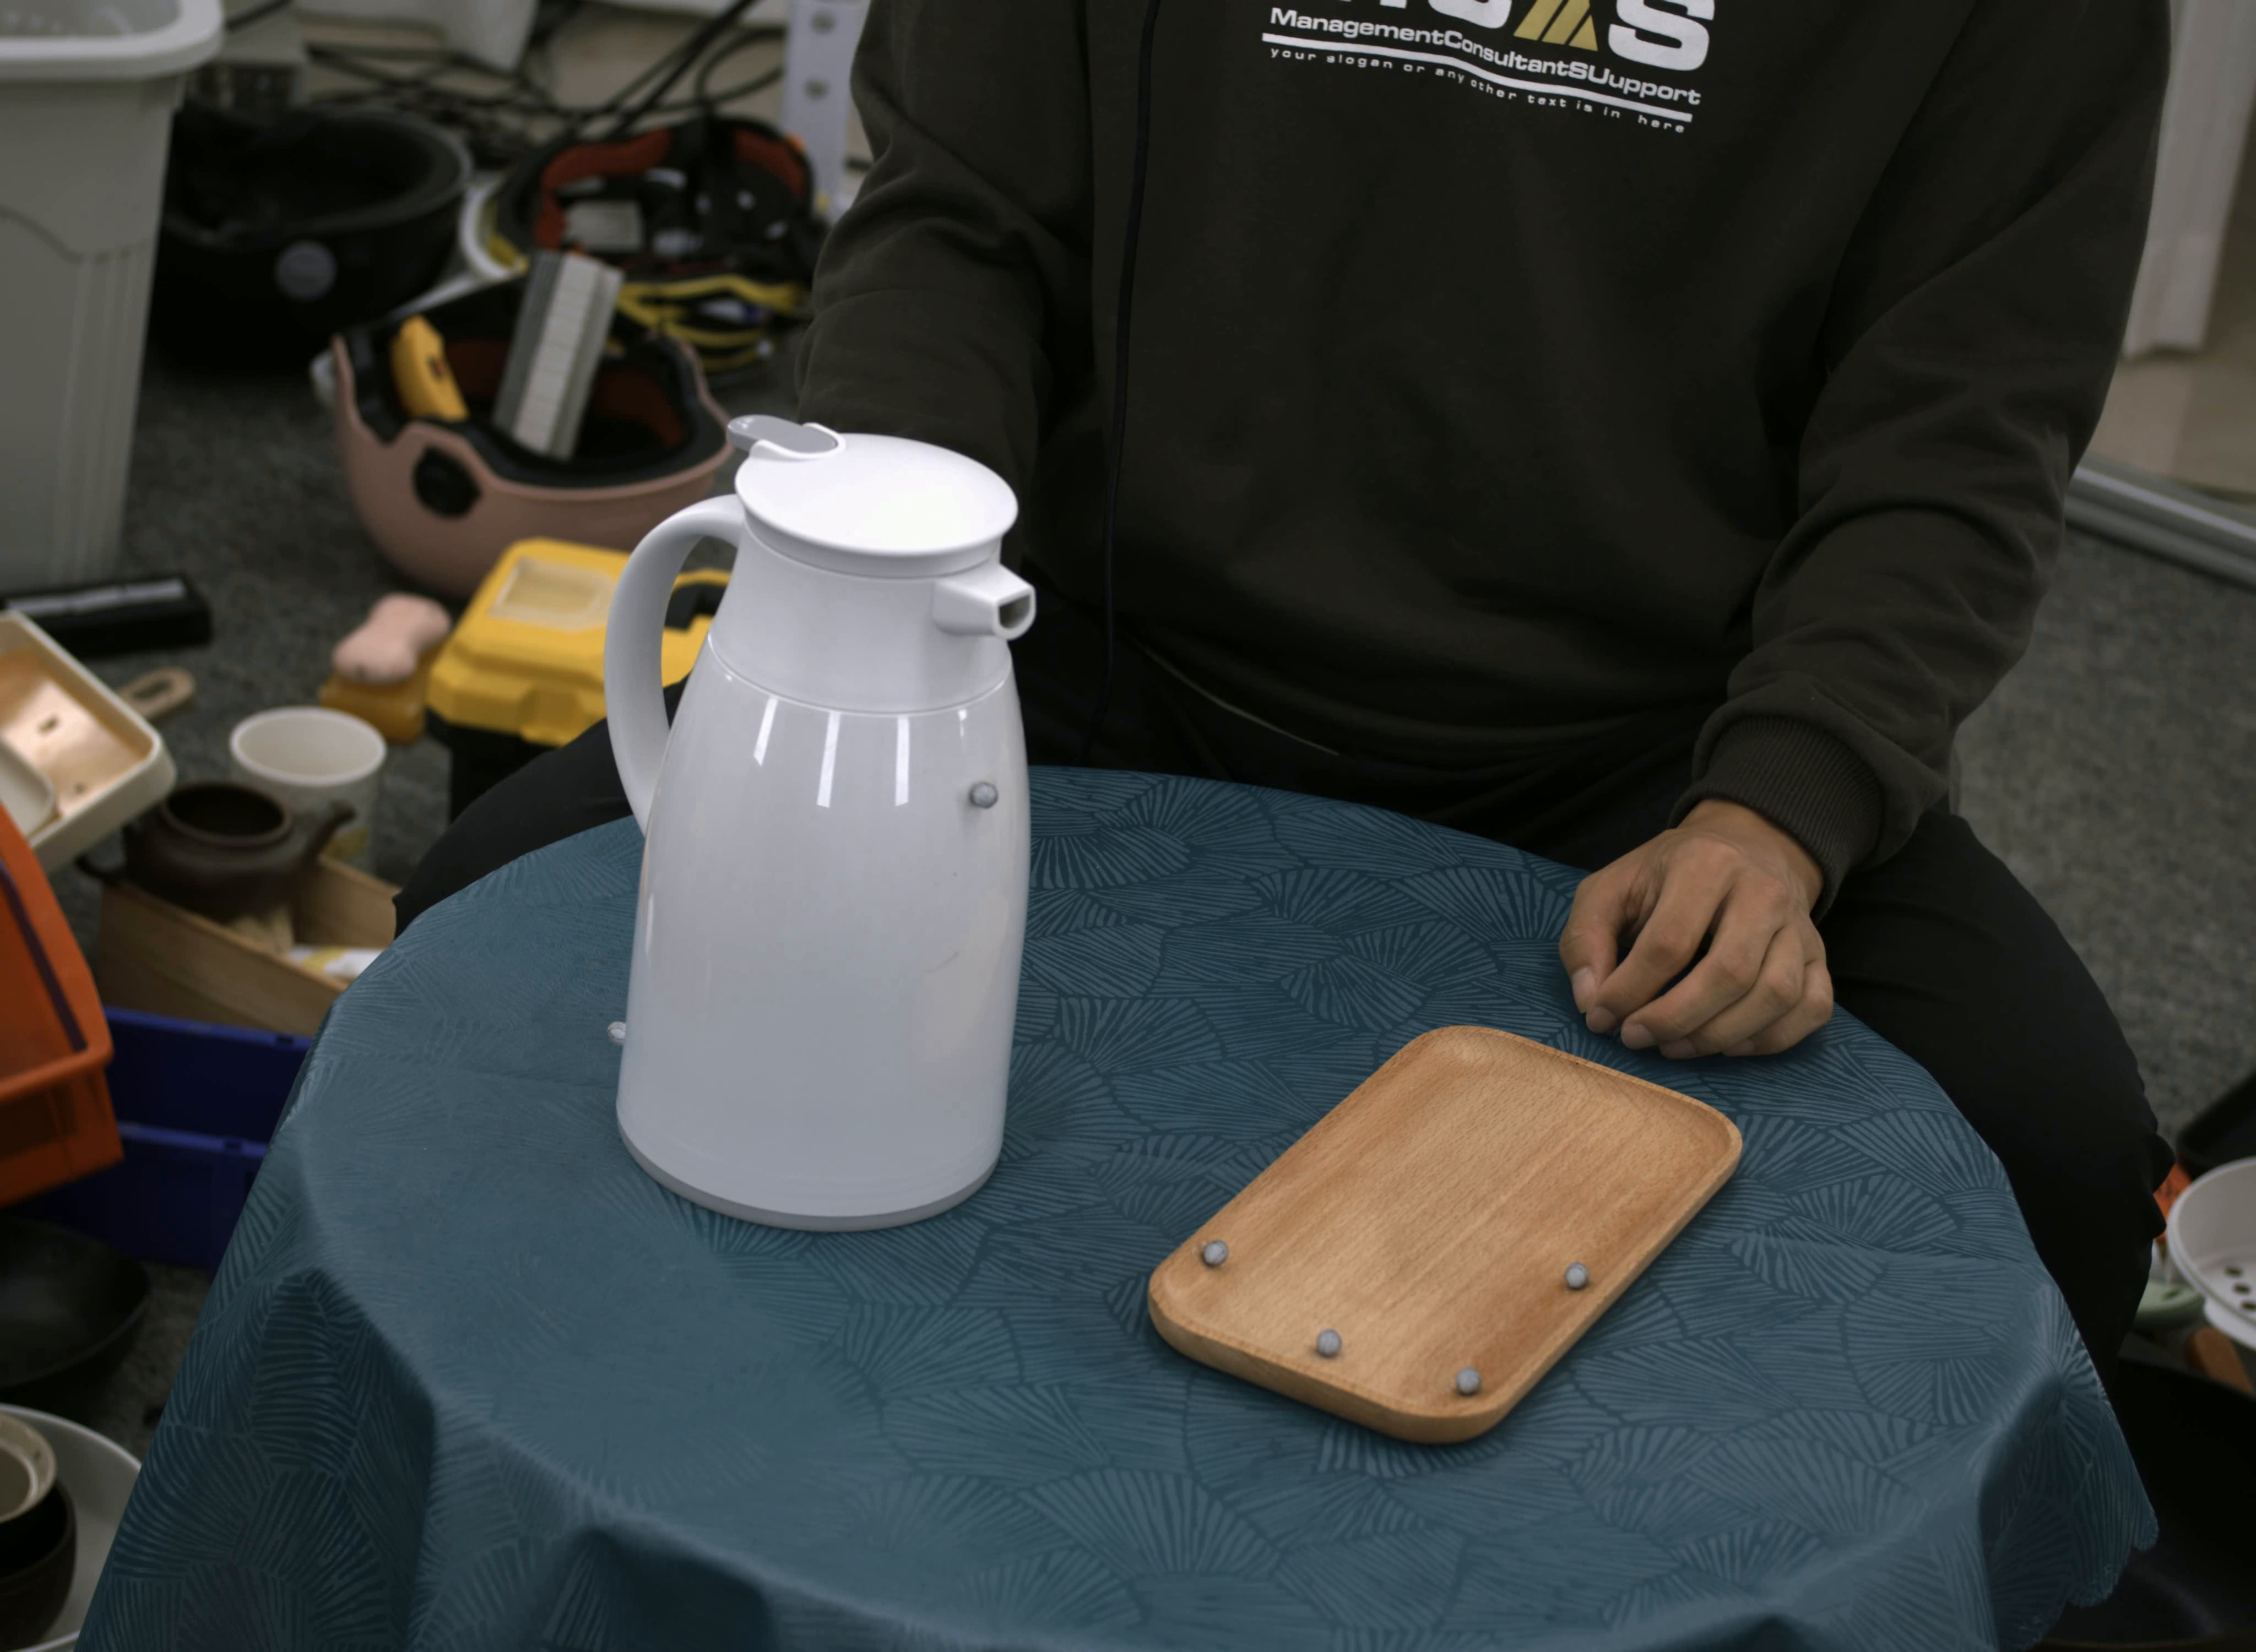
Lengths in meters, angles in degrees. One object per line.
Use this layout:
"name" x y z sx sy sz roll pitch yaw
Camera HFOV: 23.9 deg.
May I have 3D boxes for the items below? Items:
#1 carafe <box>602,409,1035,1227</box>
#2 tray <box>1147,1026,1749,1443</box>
"carafe" -0.110 -0.013 1.772 0.169 0.248 0.132 24 31 31
"tray" 0.111 0.135 1.793 0.131 0.023 0.250 22 29 22
